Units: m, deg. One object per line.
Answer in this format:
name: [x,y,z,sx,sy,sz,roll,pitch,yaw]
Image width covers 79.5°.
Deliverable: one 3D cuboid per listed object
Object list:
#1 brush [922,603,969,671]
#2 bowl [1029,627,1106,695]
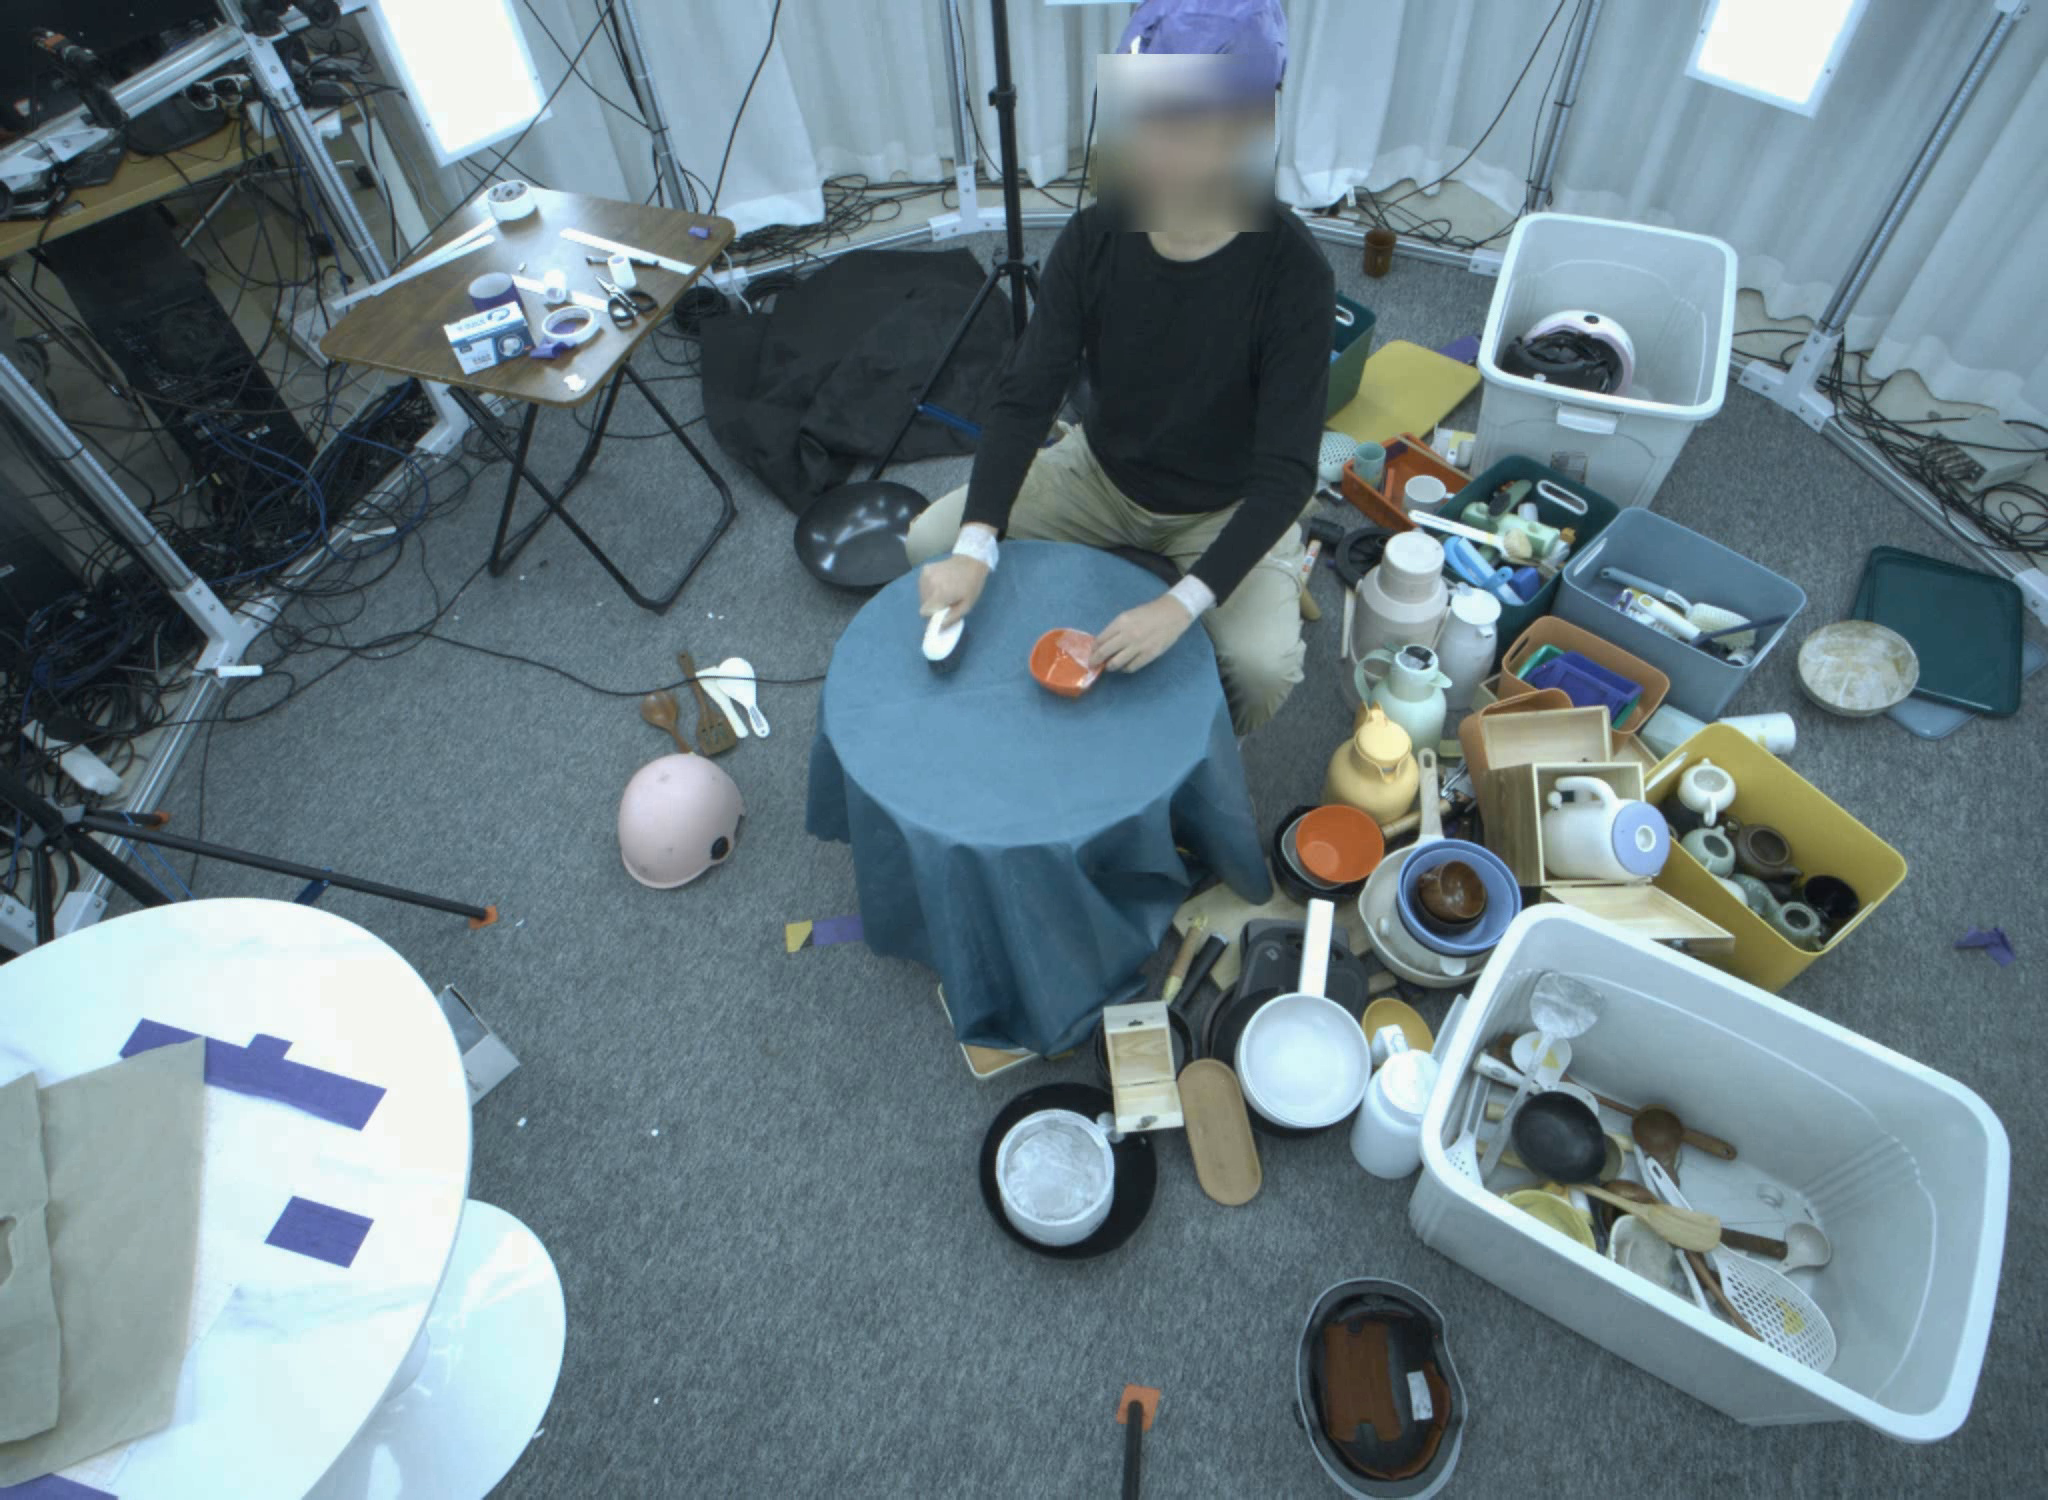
brush: [-0.124,-0.179,1.853,0.049,0.073,0.099,8,52,22]
bowl: [0.066,-0.126,1.841,0.118,0.052,0.118,-2,57,4]
